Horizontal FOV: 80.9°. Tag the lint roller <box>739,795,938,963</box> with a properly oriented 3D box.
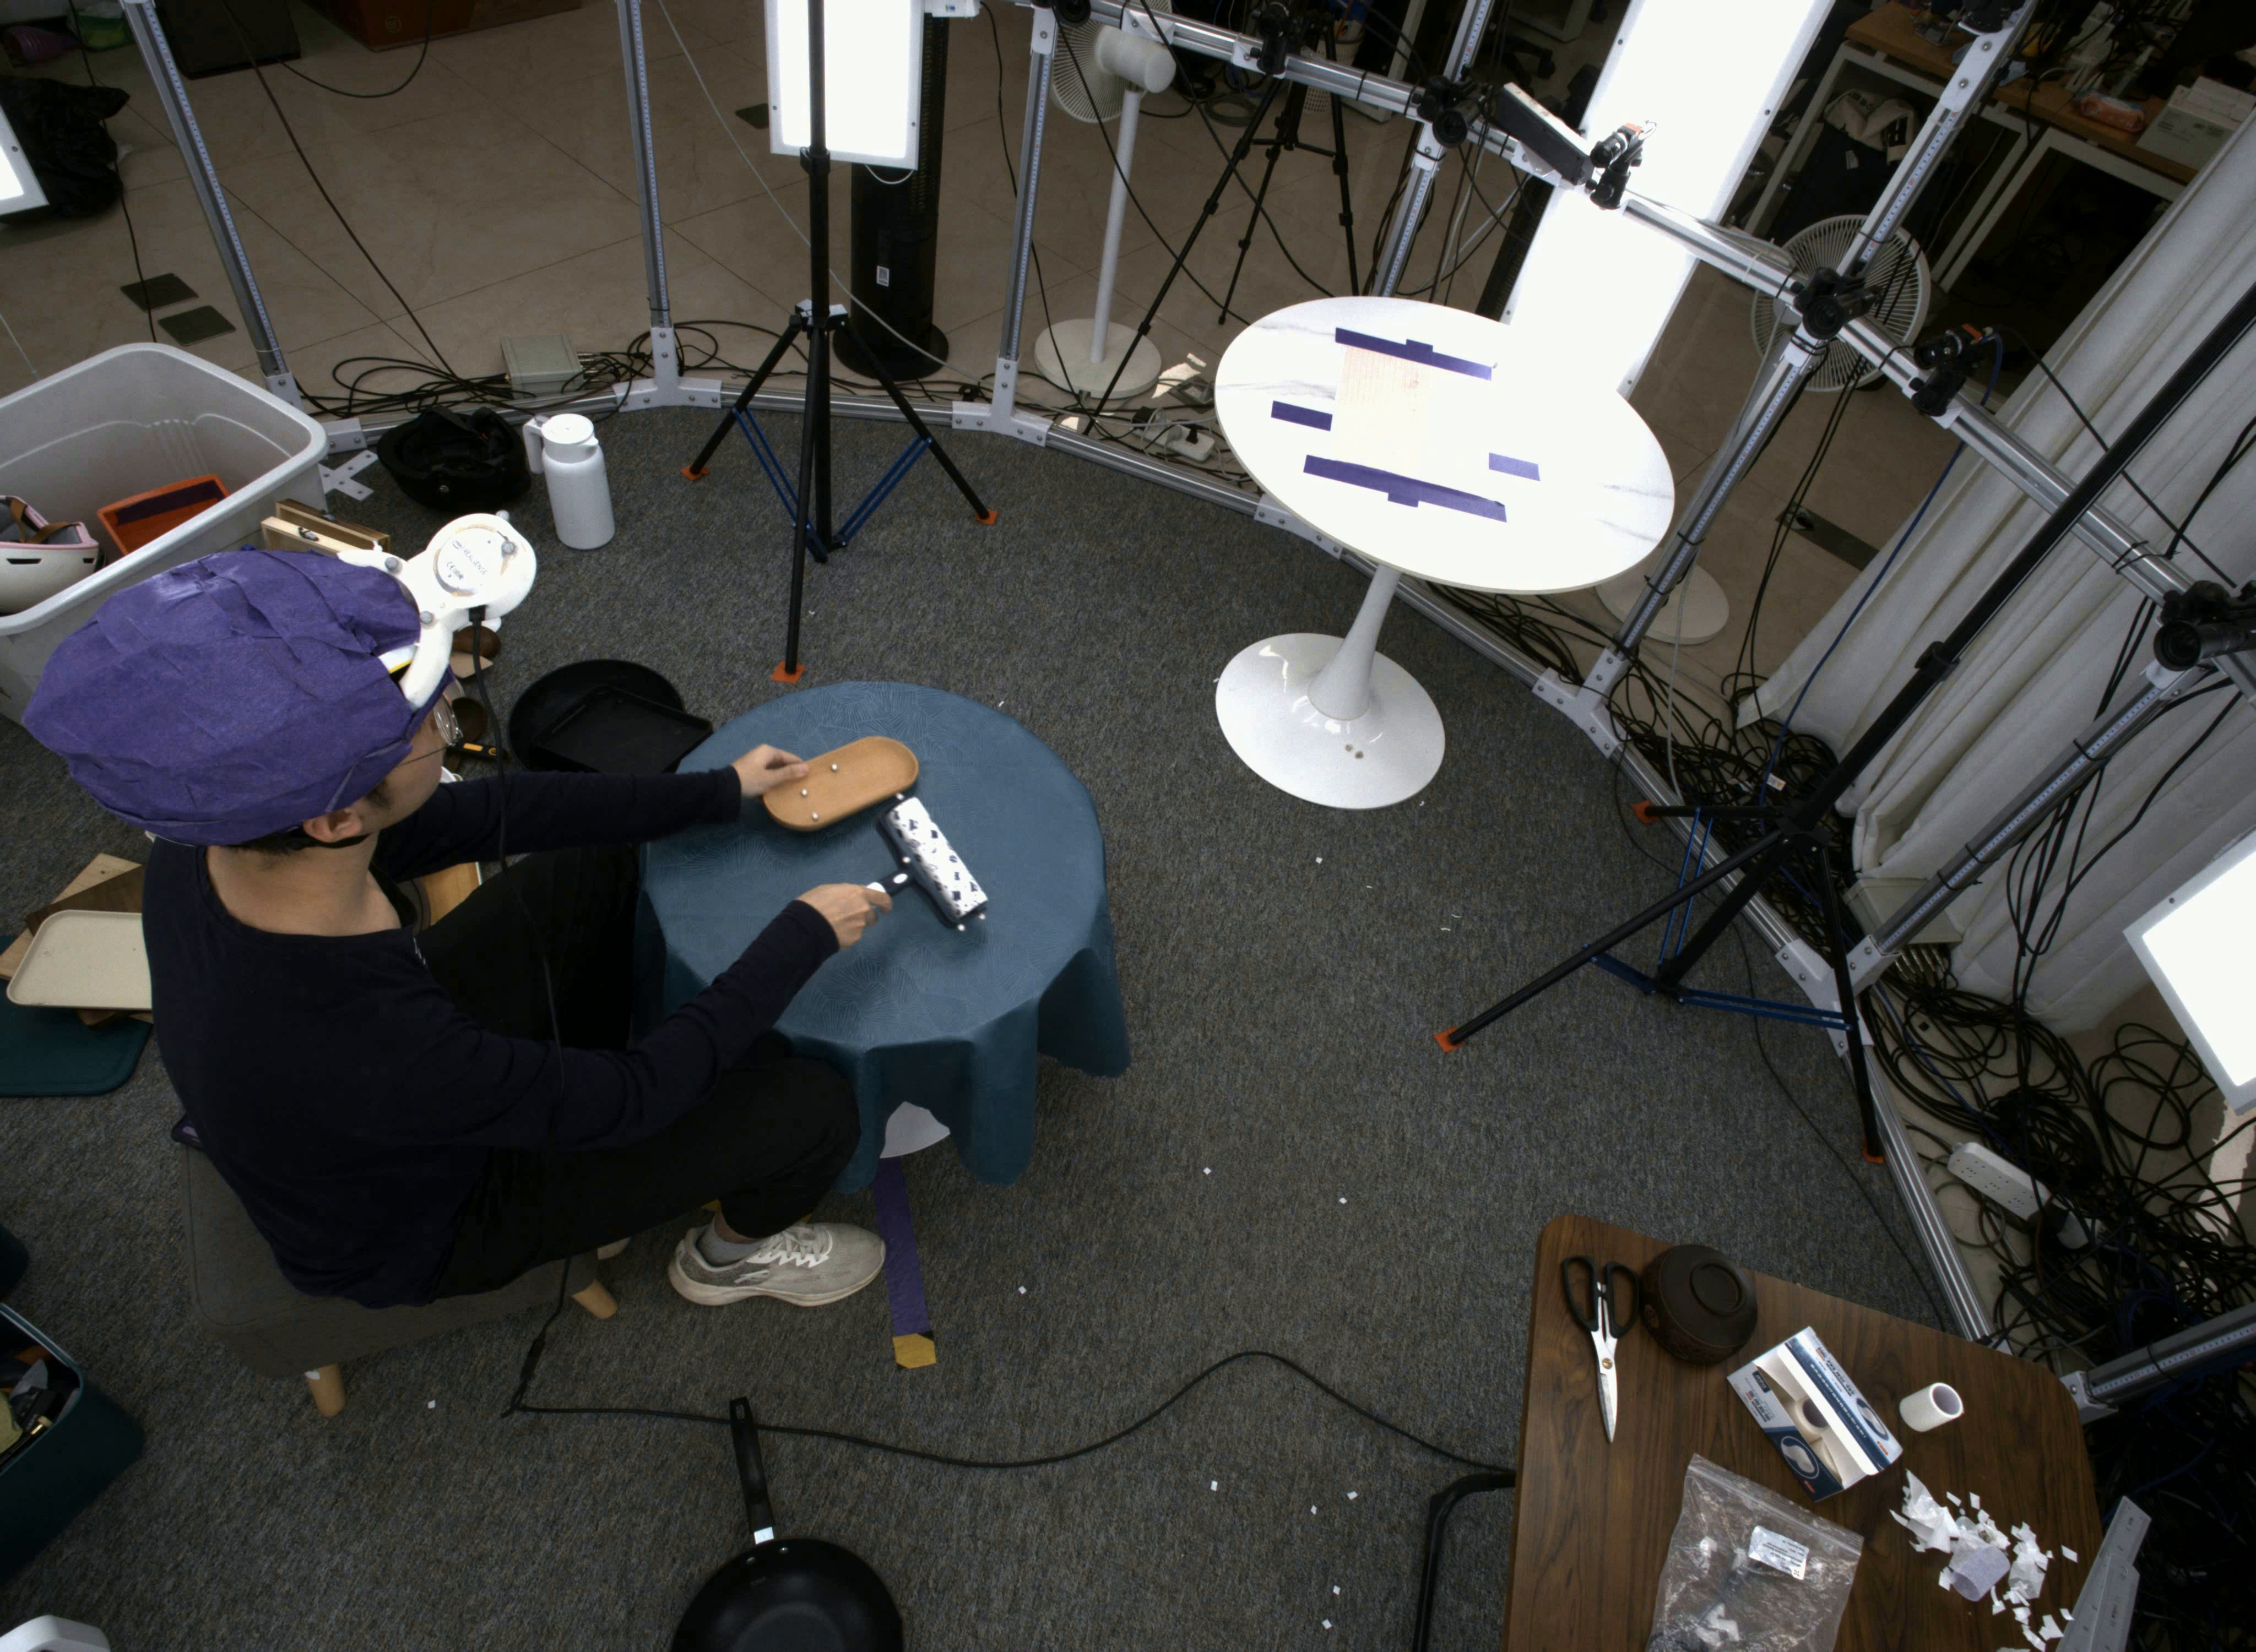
[{"bbox_3d":[-0.367,0.088,1.576,0.247,0.050,0.177,-39,93,-38],"label":"lint roller"}]

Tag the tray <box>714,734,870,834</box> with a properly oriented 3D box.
[{"bbox_3d":[-0.446,-0.059,1.731,0.100,0.020,0.232,43,46,15],"label":"tray"}]
